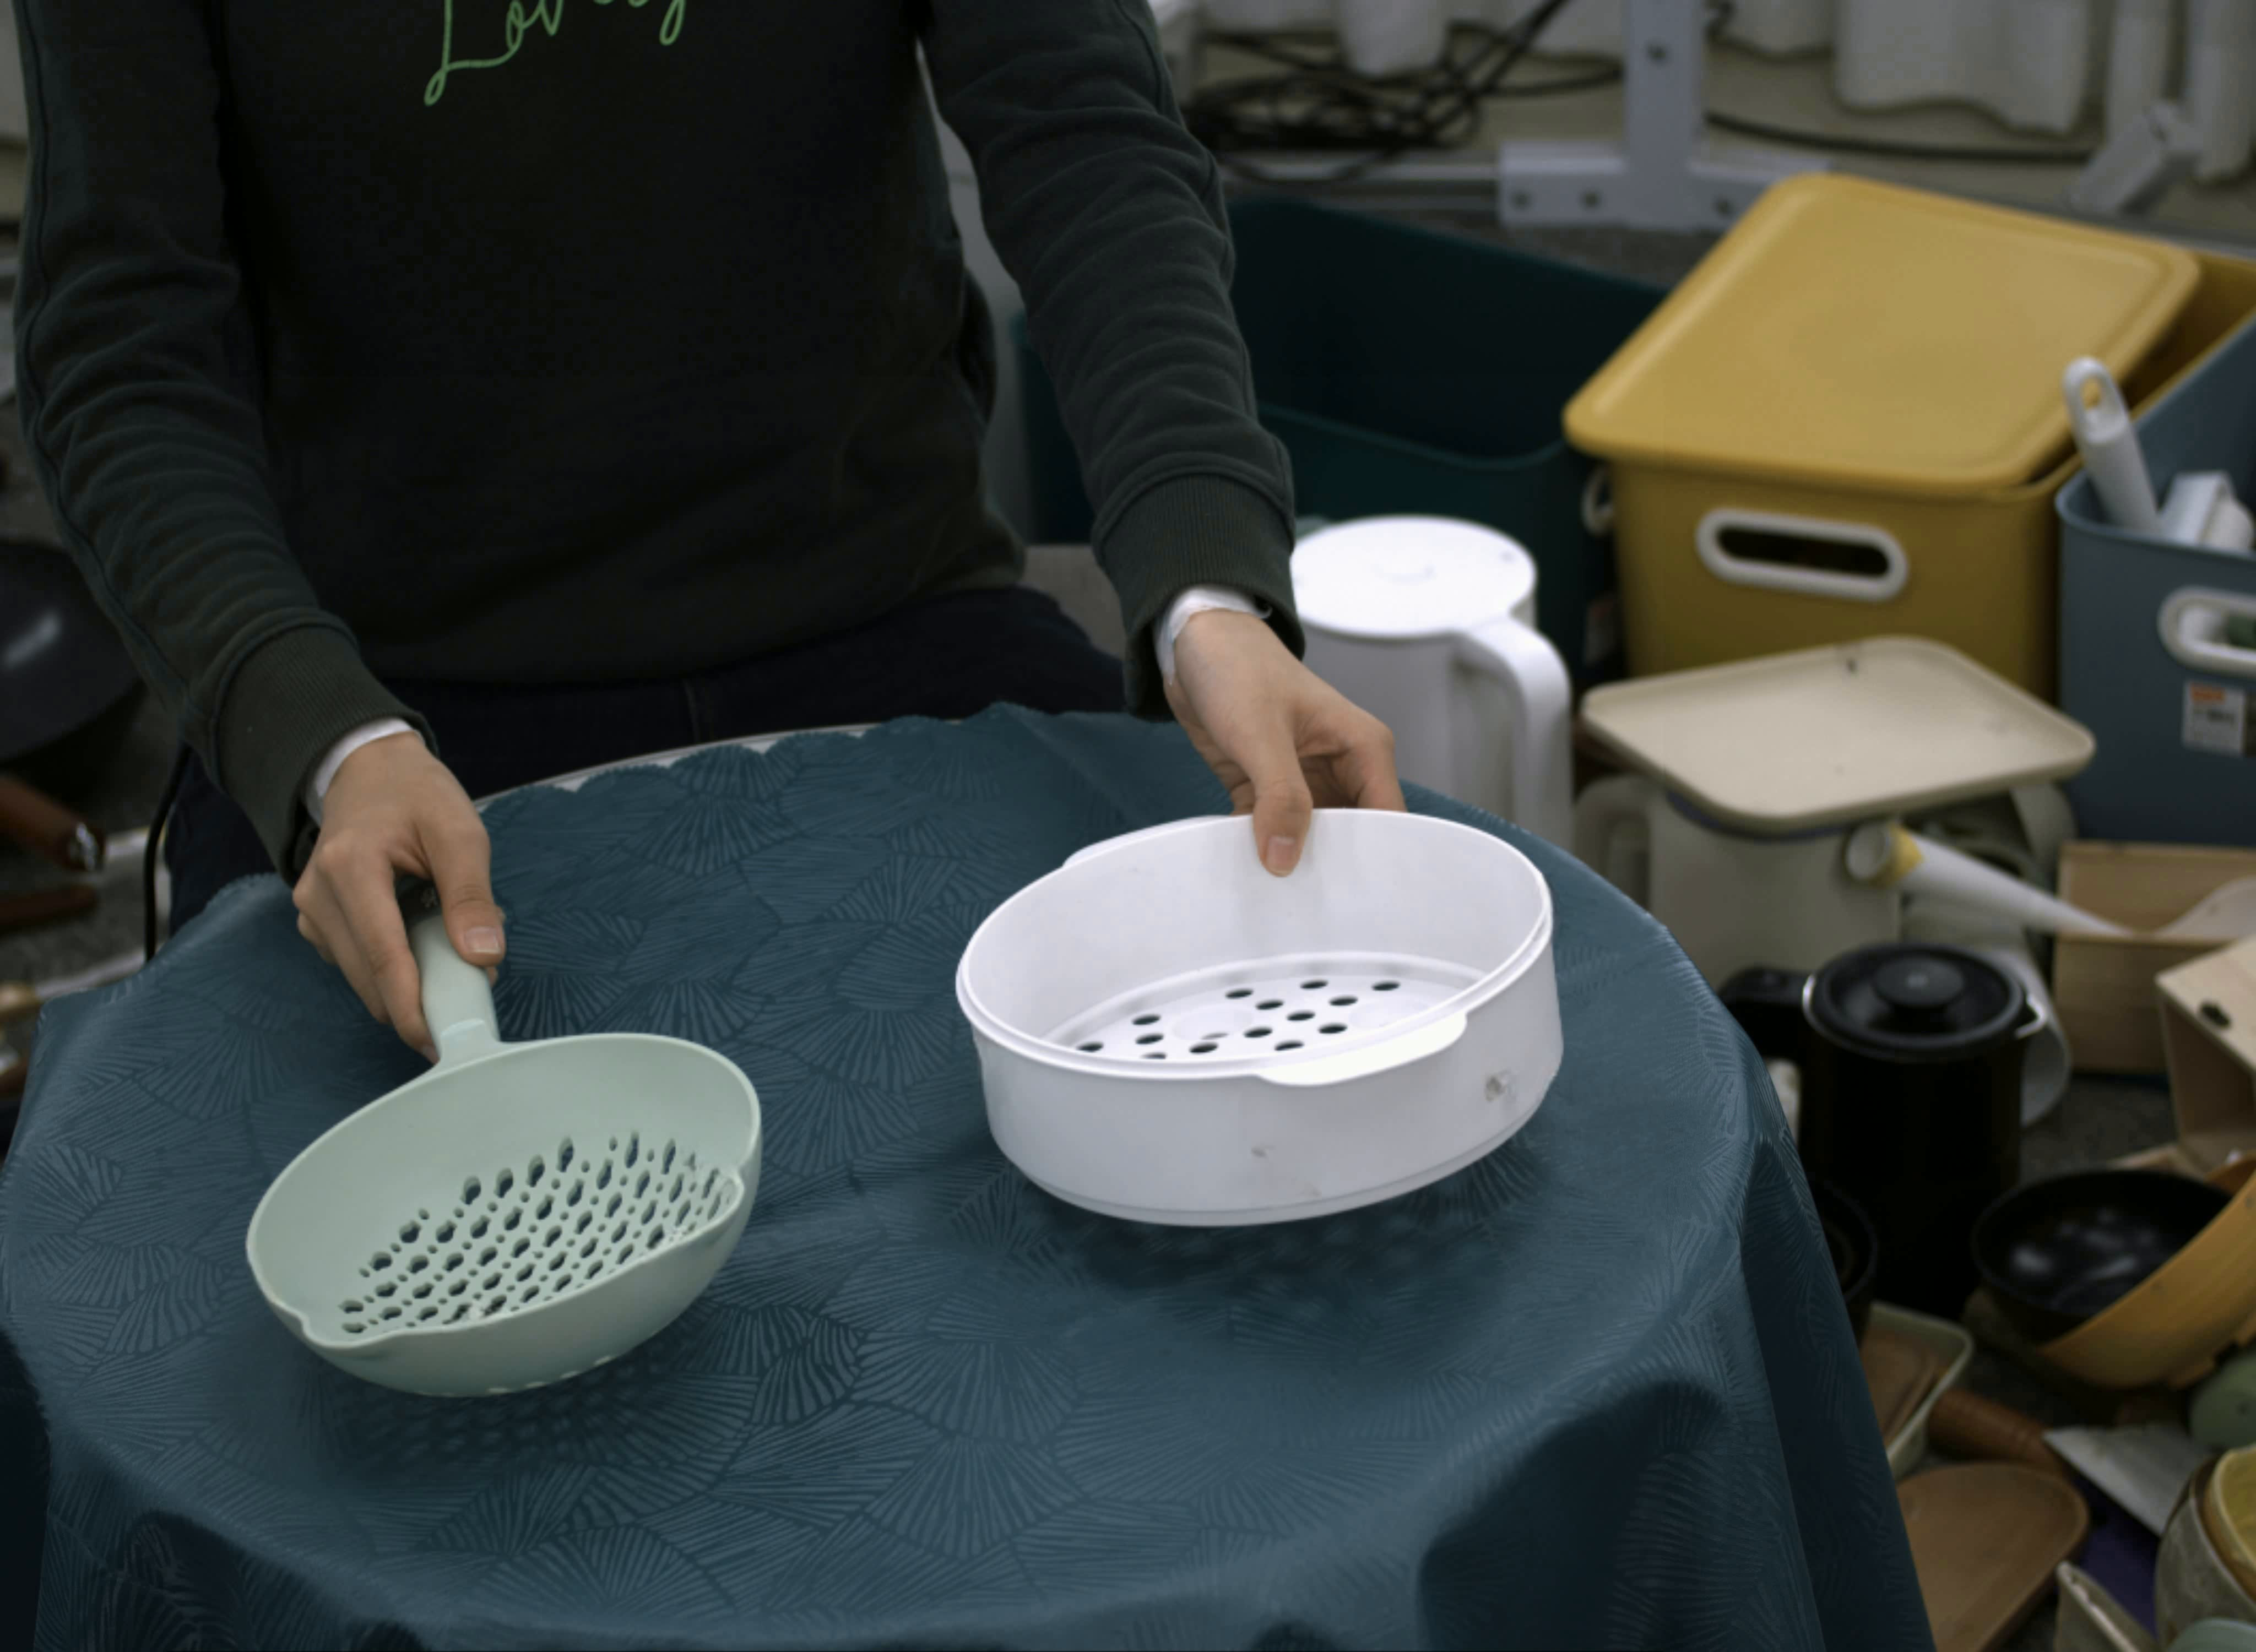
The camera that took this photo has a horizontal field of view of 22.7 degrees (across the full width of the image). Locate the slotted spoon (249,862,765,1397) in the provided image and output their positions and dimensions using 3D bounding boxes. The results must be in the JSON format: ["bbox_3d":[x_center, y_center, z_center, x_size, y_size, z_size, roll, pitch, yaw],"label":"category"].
[{"bbox_3d":[-0.214,0.083,1.861,0.169,0.074,0.363,-17,33,-6],"label":"slotted spoon"}]

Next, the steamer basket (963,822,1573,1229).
[{"bbox_3d":[0.049,0.066,1.858,0.202,0.069,0.231,-14,22,-17],"label":"steamer basket"}]
